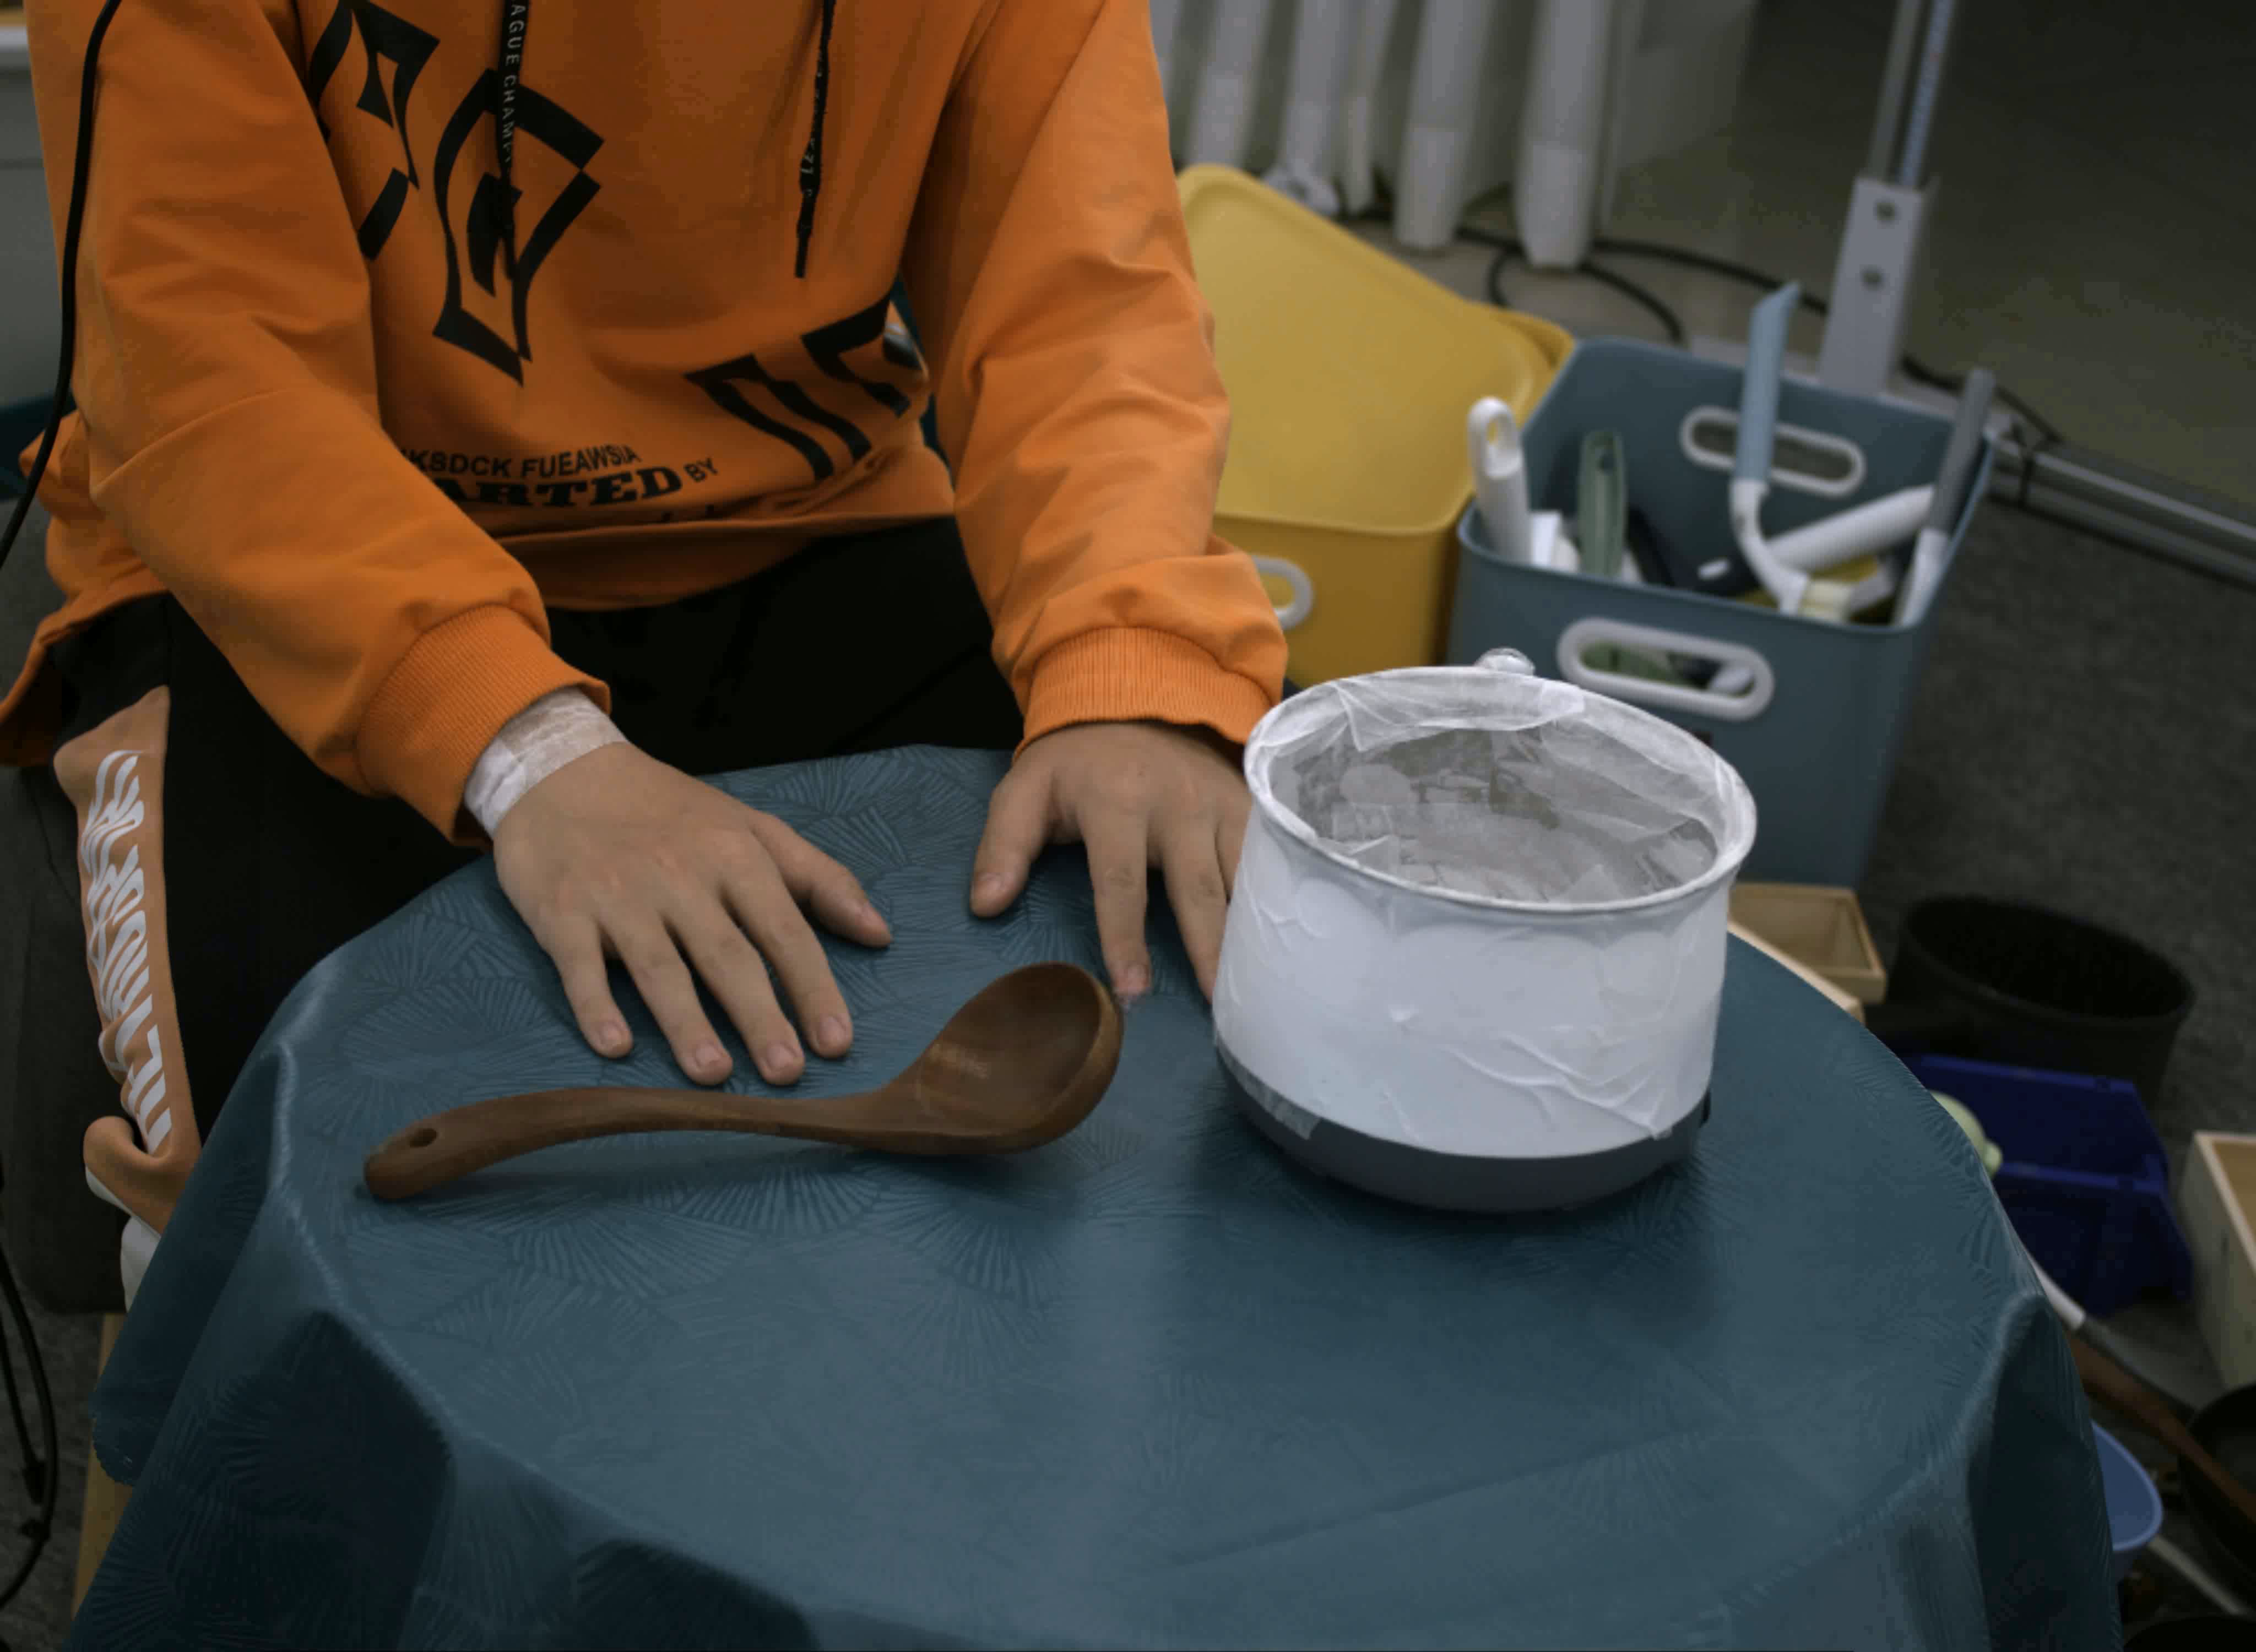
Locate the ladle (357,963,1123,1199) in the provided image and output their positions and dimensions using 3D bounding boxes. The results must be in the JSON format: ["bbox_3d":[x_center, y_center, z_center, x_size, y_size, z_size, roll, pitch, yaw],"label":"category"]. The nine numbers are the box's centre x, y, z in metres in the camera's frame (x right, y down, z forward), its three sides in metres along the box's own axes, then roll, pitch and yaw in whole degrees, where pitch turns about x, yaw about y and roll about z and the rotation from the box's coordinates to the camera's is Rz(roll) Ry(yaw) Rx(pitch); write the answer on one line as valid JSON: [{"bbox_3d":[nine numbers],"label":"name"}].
[{"bbox_3d":[-0.128,0.086,1.778,0.258,0.065,0.077,-3,25,-18],"label":"ladle"}]

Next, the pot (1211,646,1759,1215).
[{"bbox_3d":[0.122,0.029,1.864,0.178,0.136,0.235,7,27,0],"label":"pot"}]
